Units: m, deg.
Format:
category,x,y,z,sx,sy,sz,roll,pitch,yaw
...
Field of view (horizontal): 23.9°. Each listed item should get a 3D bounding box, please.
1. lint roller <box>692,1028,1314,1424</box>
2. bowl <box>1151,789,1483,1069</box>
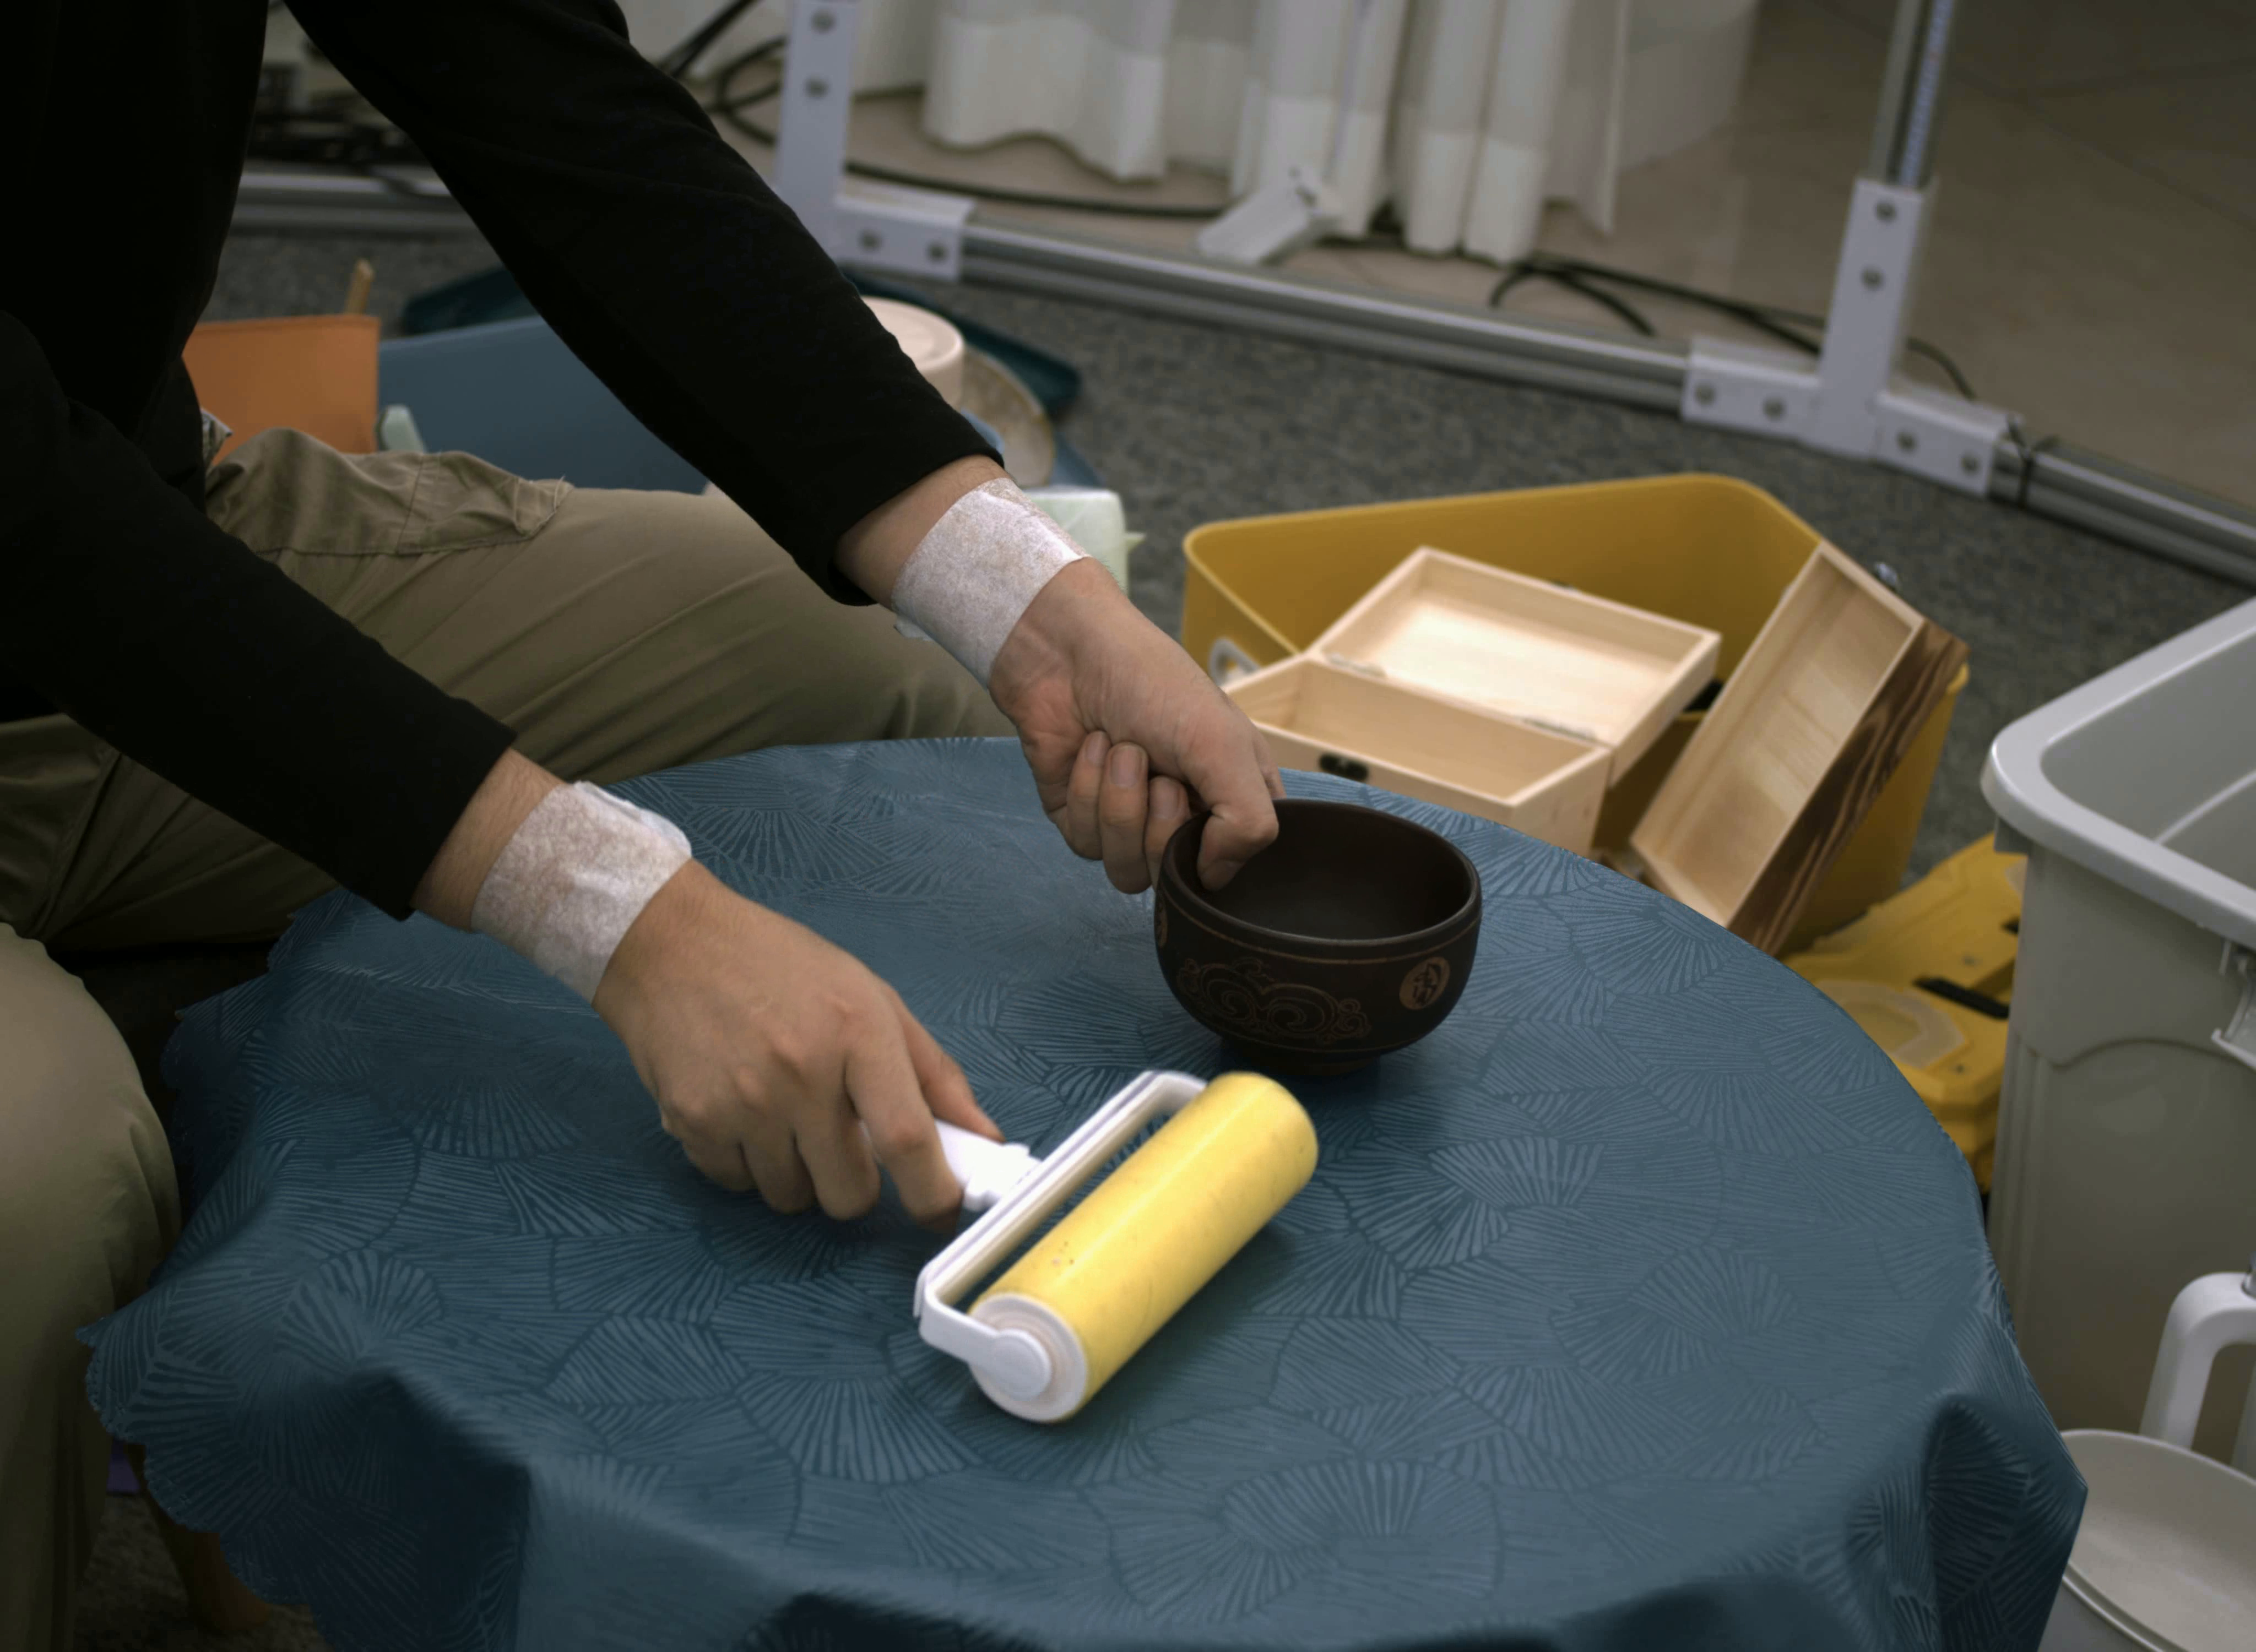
category,x,y,z,sx,sy,sz,roll,pitch,yaw
lint roller,-0.056,0.102,1.740,0.192,0.051,0.174,29,35,14
bowl,0.065,0.043,1.891,0.117,0.069,0.119,5,25,-3
